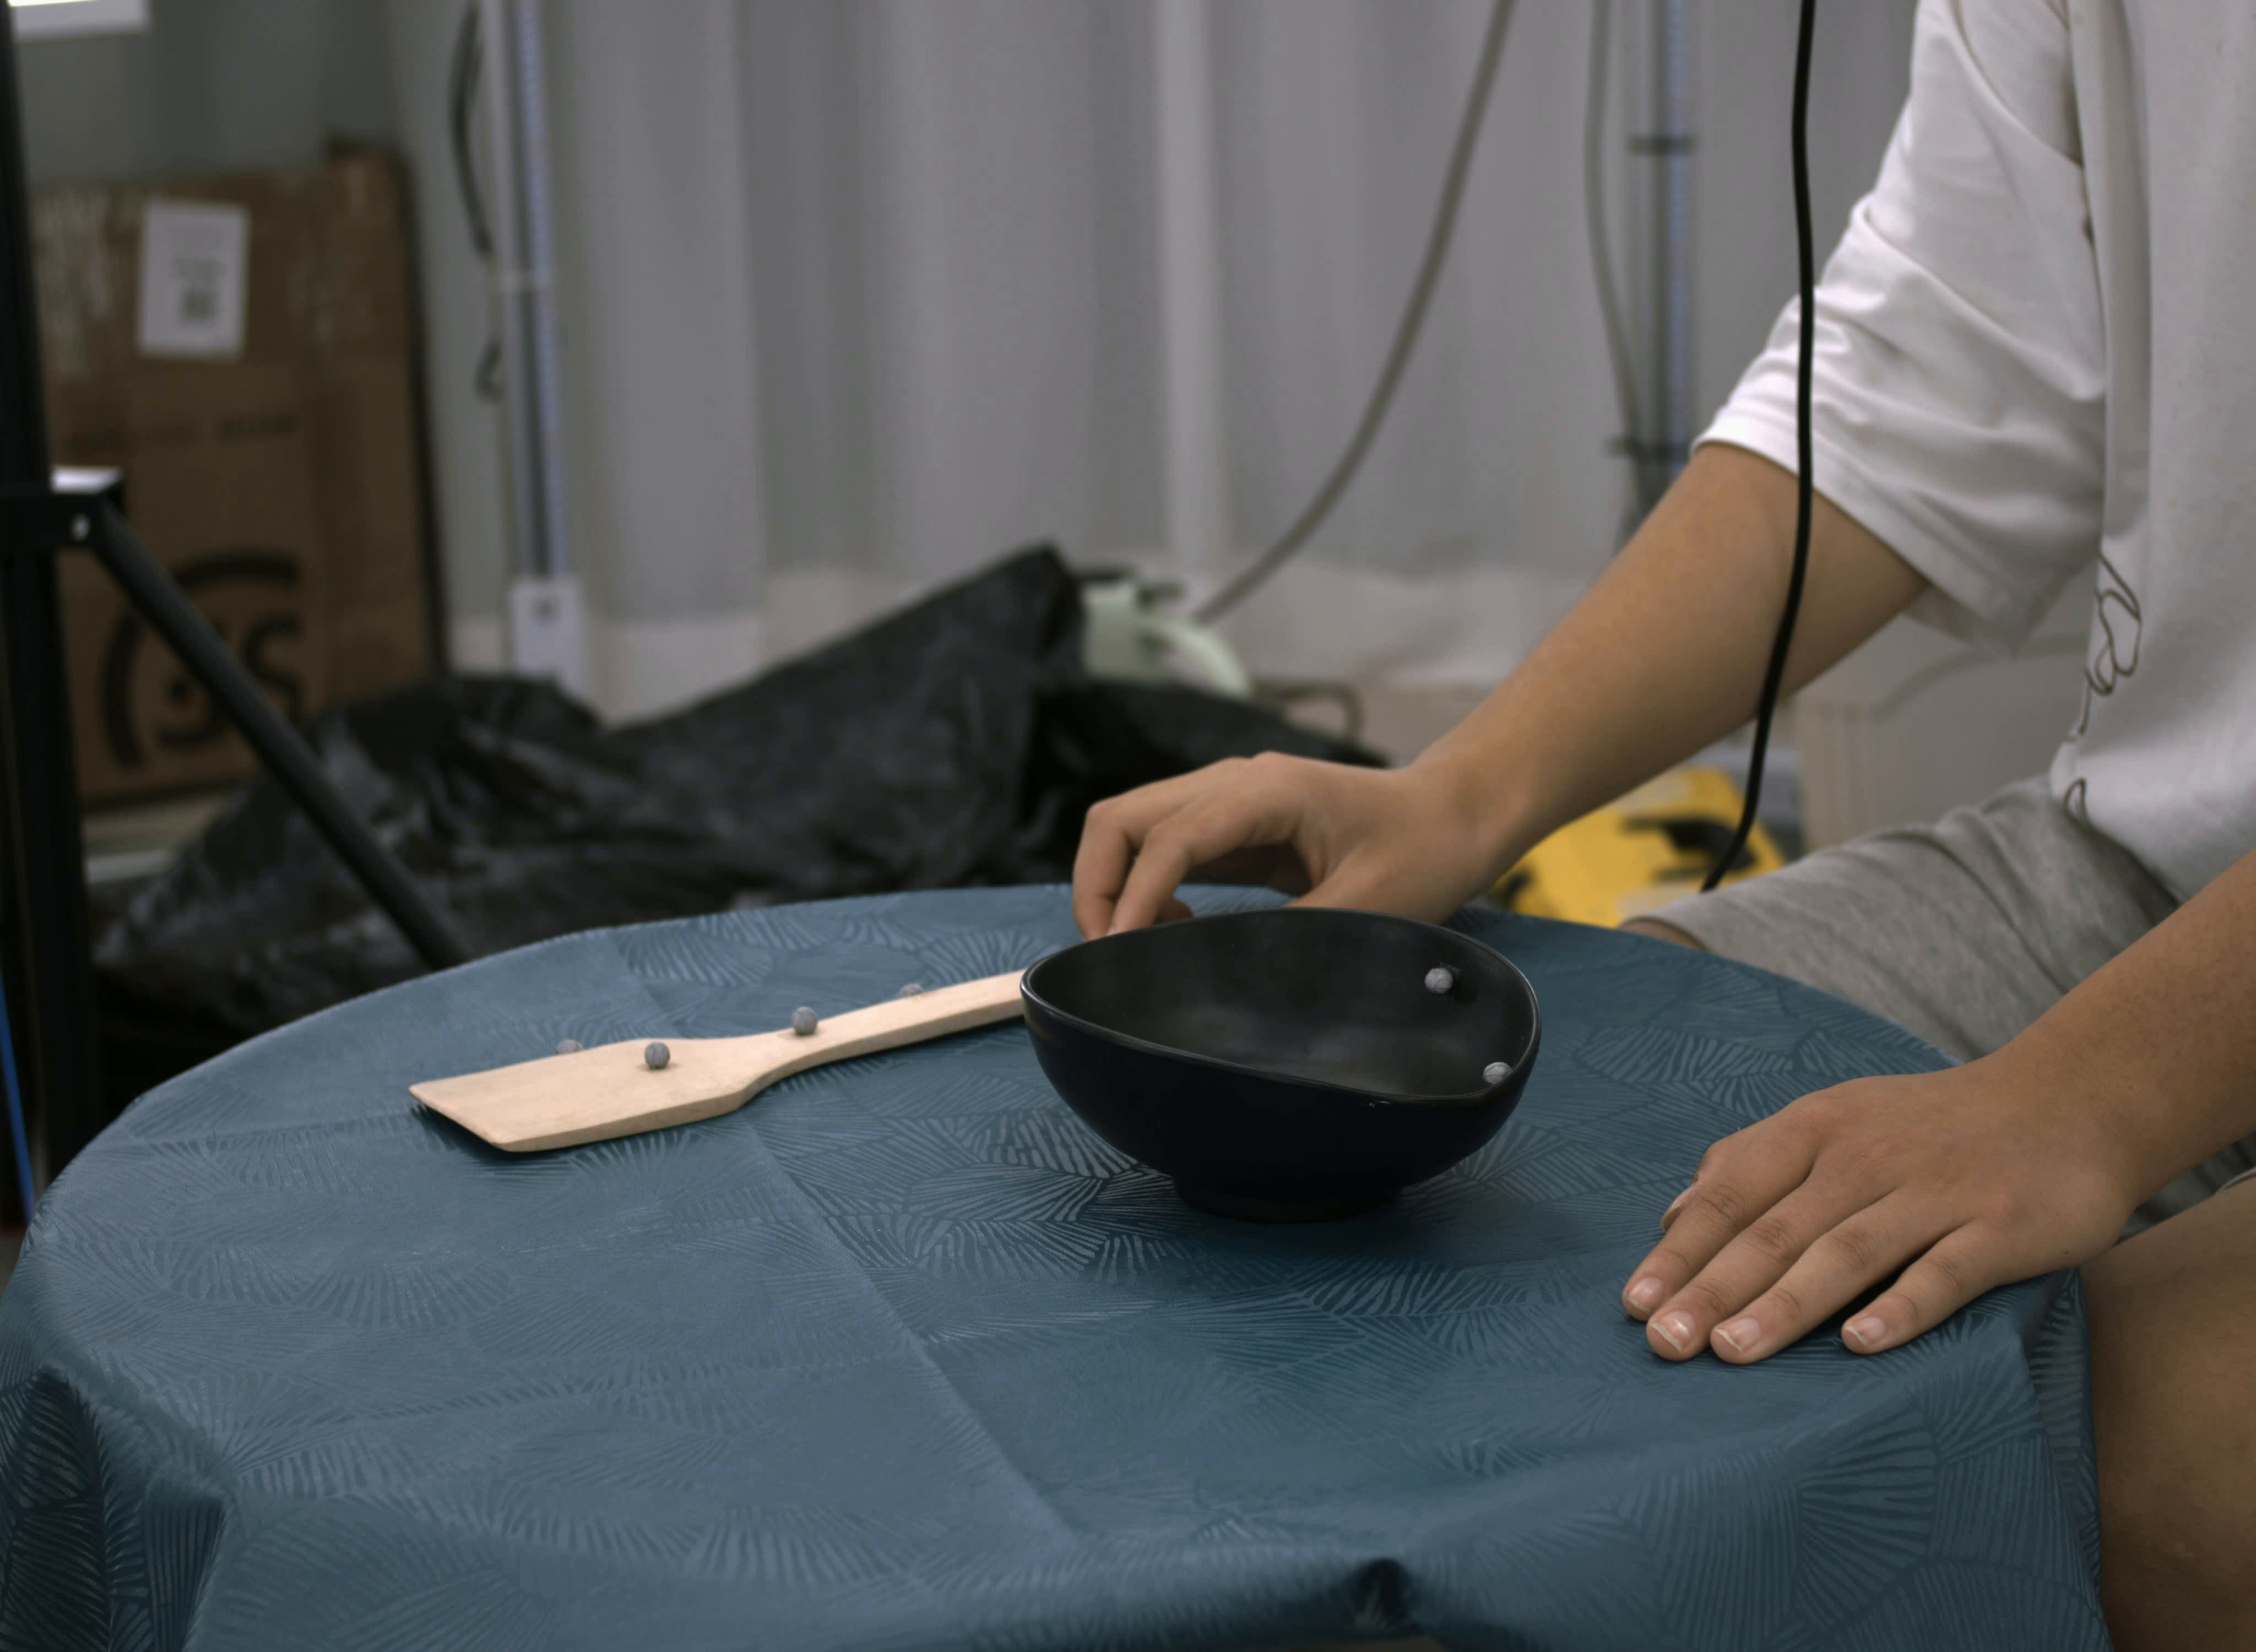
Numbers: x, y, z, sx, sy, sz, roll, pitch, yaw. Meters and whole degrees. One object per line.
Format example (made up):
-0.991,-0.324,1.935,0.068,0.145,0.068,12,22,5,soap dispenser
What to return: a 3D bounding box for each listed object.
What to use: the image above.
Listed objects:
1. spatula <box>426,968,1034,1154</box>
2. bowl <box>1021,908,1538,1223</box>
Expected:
-0.081,0.064,1.704,0.287,0.010,0.074,-13,18,-28,spatula
0.045,0.074,1.554,0.134,0.067,0.174,-16,22,-41,bowl
